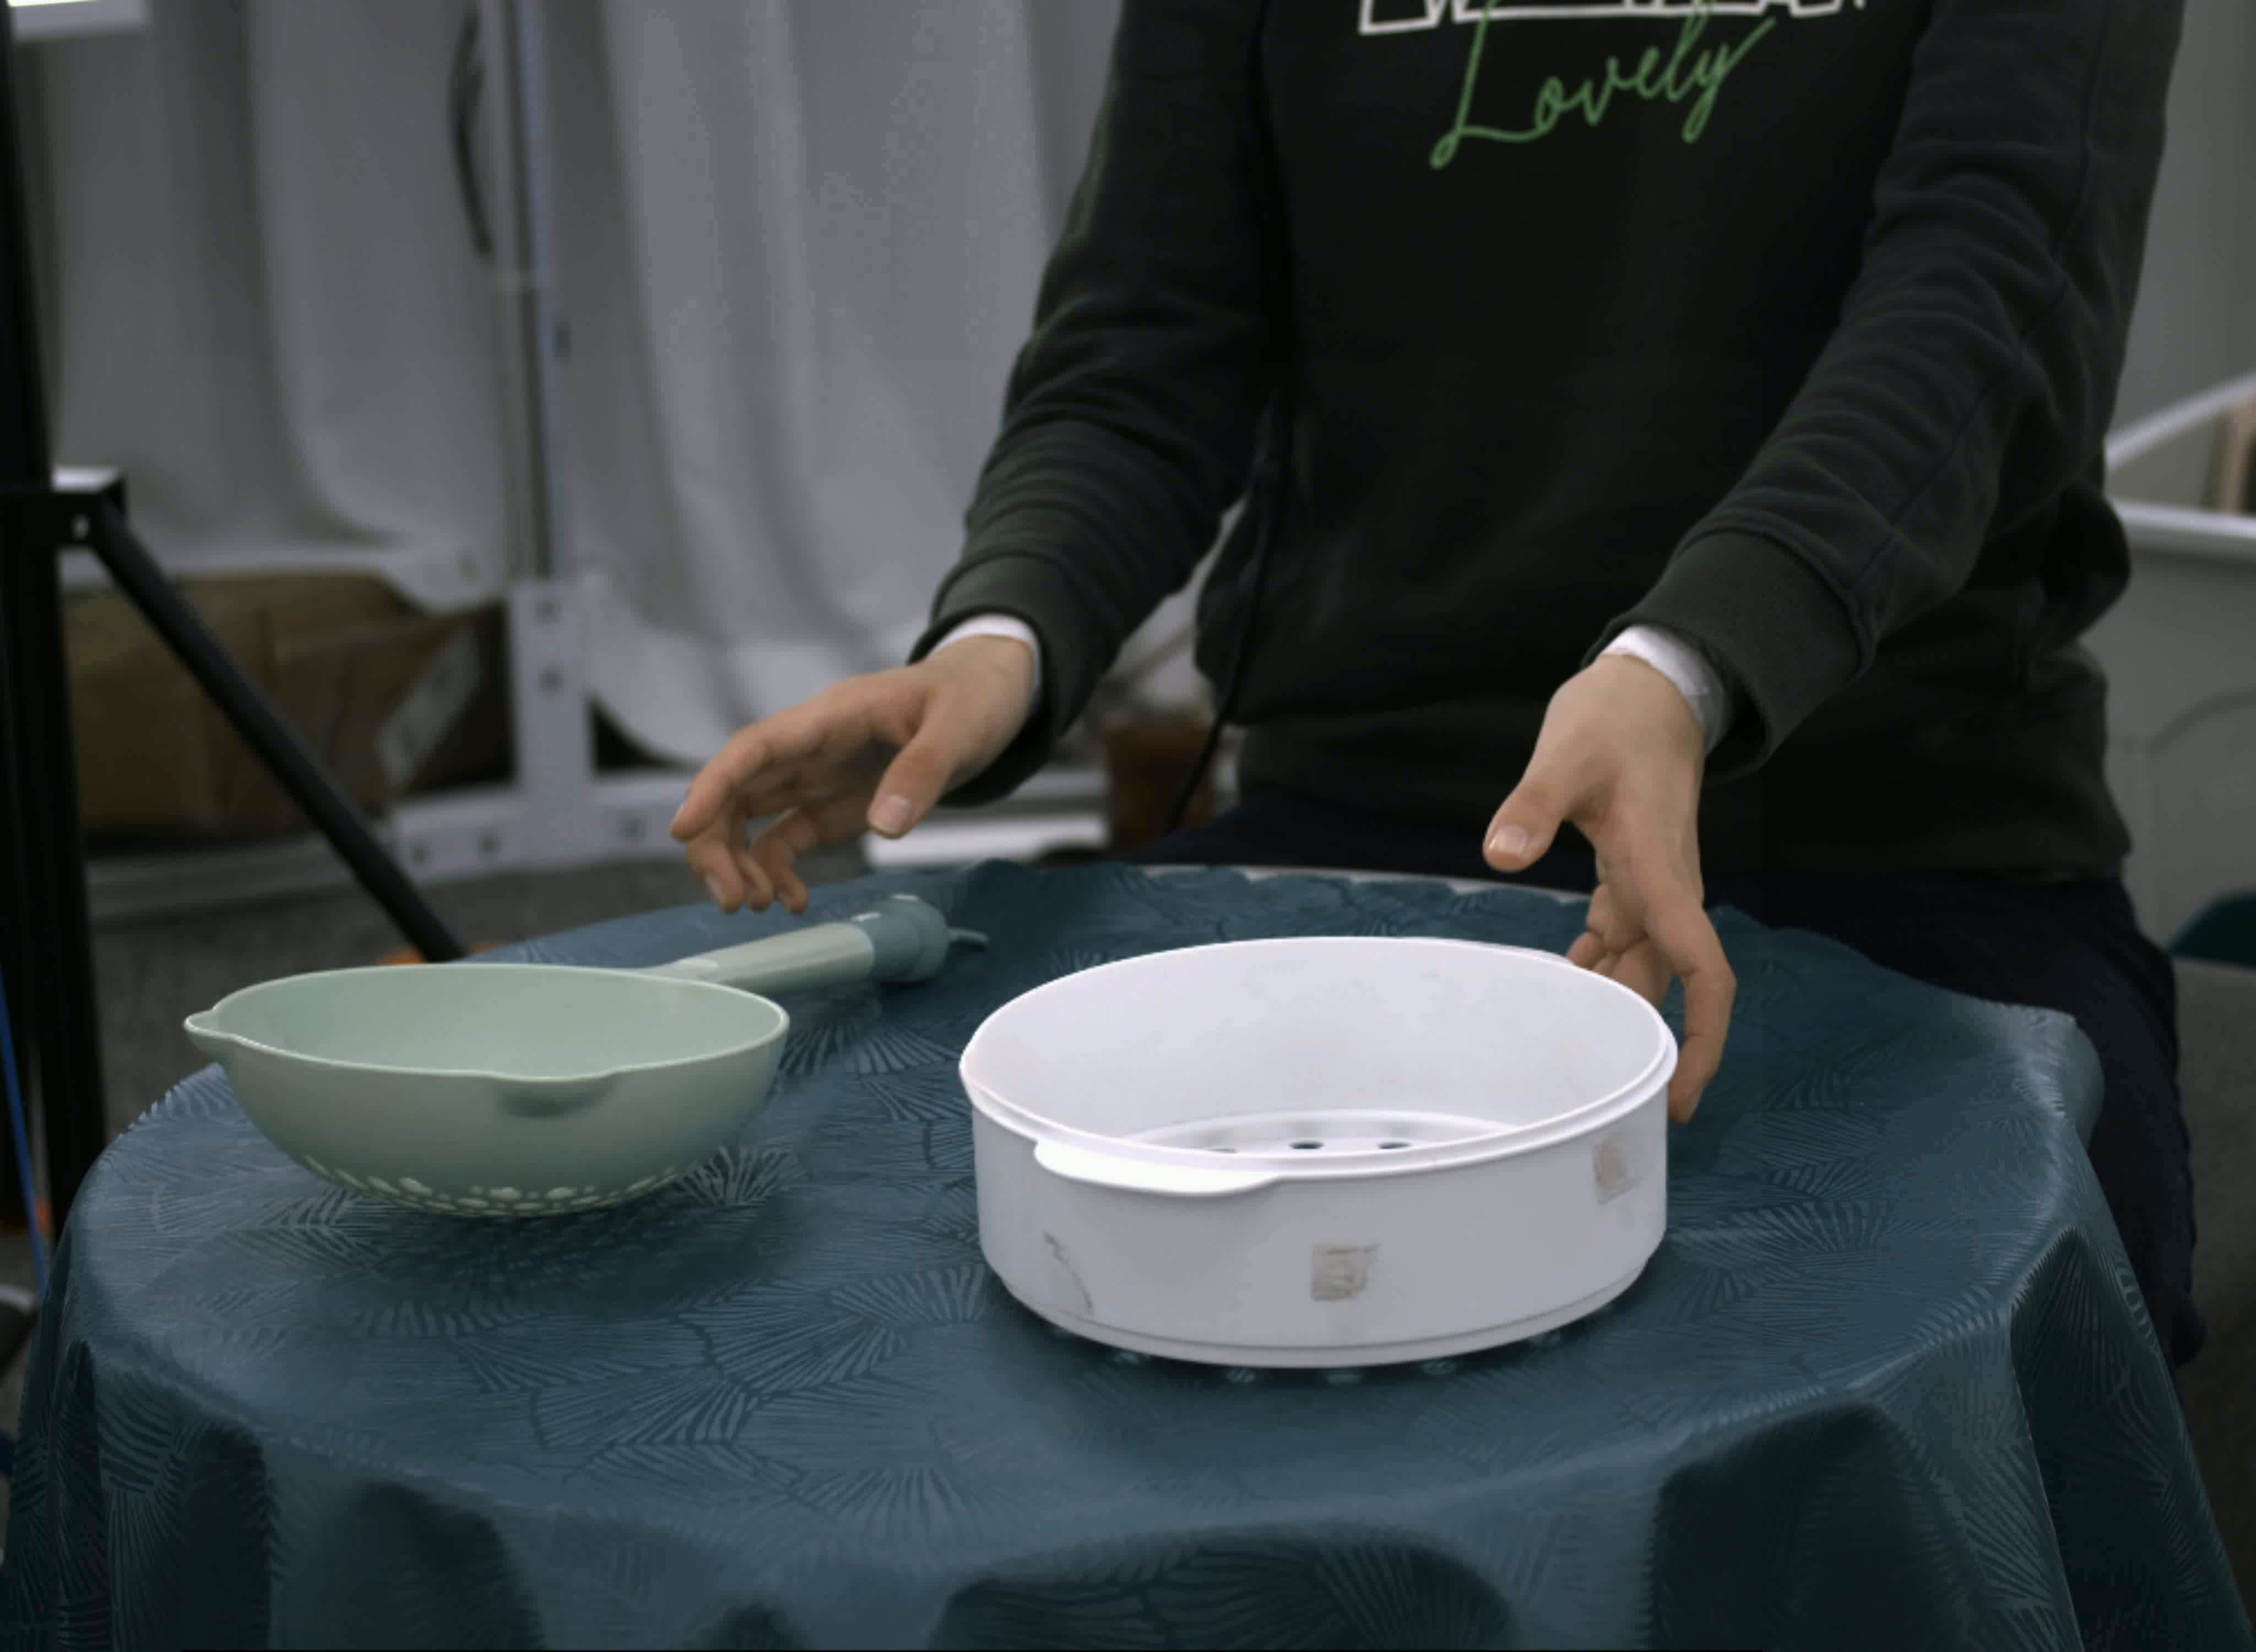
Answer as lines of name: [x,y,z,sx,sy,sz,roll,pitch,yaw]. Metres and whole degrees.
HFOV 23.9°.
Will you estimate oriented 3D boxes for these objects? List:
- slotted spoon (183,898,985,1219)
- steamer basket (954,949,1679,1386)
slotted spoon: [-0.138,0.056,1.647,0.172,0.075,0.353,7,18,28]
steamer basket: [0.052,0.095,1.480,0.205,0.069,0.226,7,18,28]
